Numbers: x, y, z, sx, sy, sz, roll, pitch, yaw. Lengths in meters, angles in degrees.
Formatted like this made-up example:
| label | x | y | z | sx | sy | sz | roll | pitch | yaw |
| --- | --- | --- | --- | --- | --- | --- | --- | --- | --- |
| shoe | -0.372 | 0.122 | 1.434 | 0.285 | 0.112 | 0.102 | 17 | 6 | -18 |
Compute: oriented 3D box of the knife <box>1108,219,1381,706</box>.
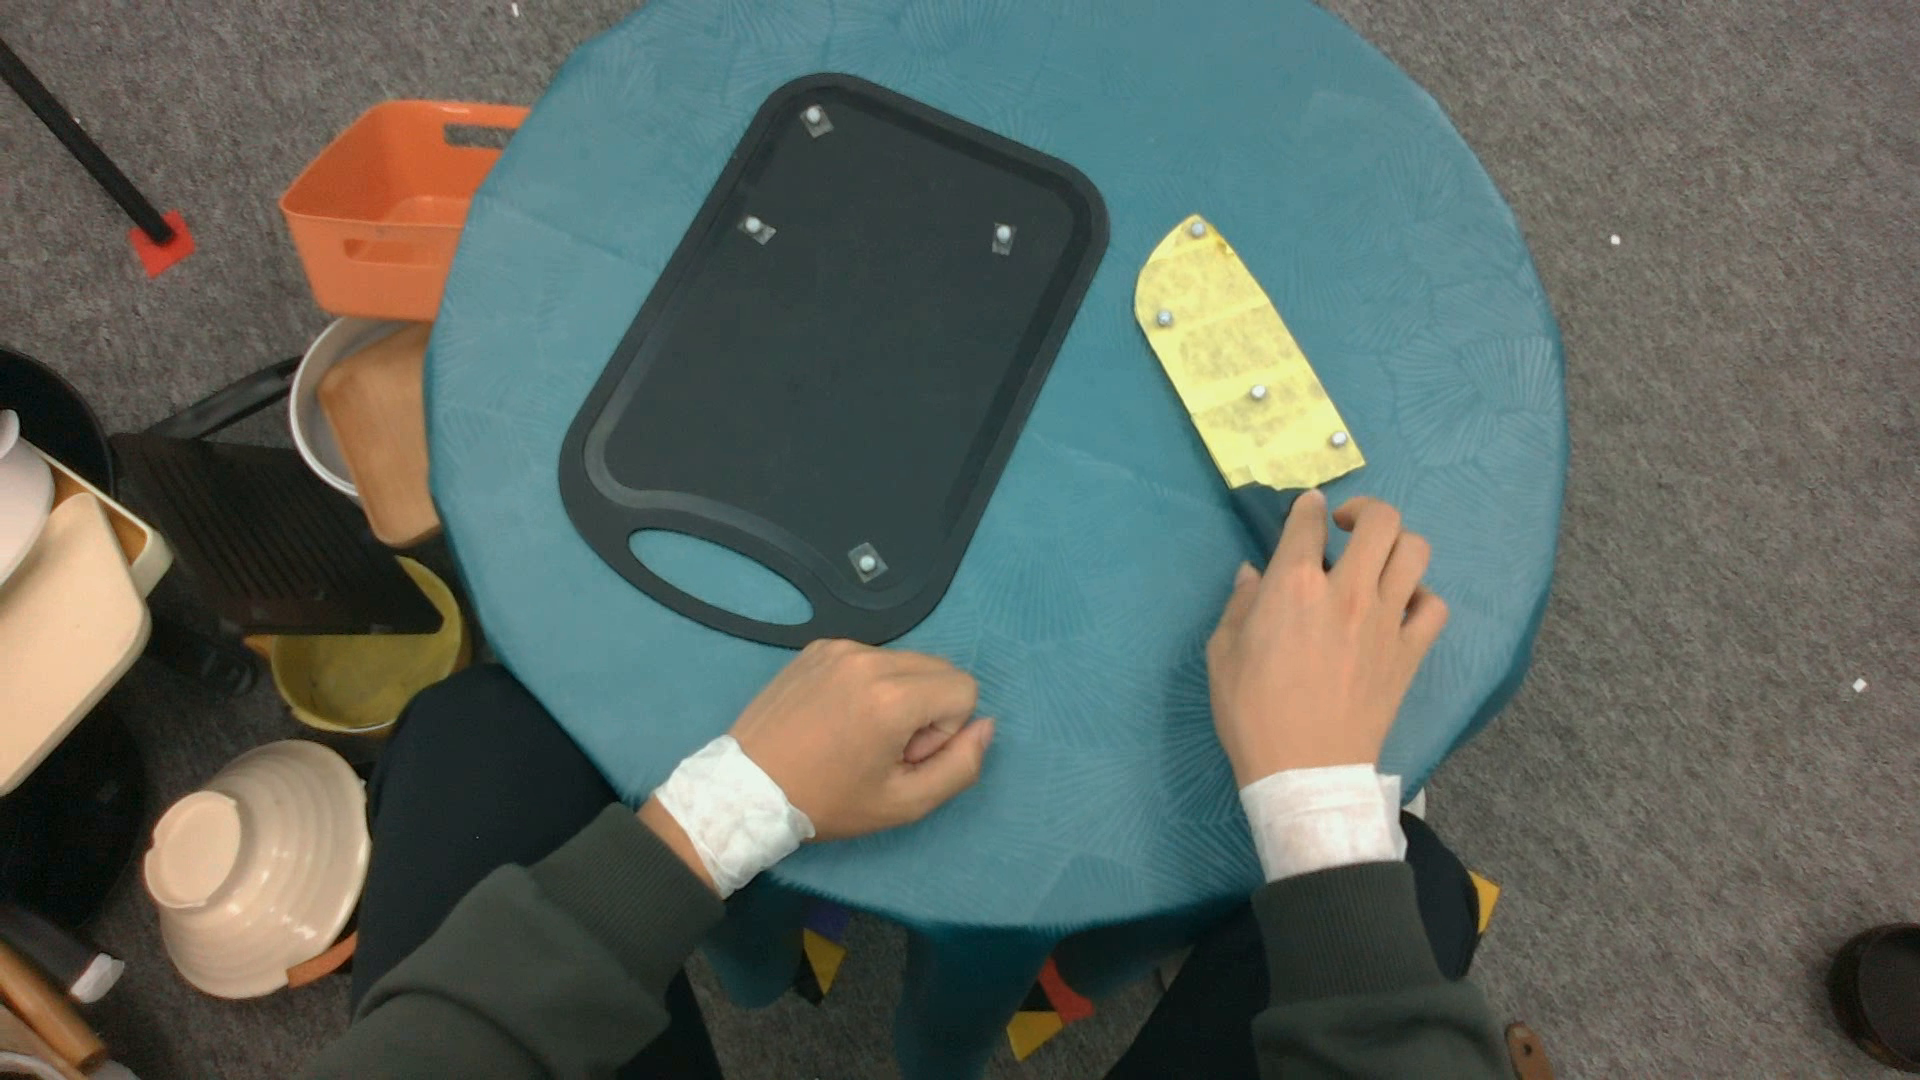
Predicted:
| label | x | y | z | sx | sy | sz | roll | pitch | yaw |
| --- | --- | --- | --- | --- | --- | --- | --- | --- | --- |
| knife | 0.154 | -0.051 | 0.717 | 0.081 | 0.027 | 0.290 | -19 | 71 | -9 |

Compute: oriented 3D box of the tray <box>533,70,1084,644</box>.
| label | x | y | z | sx | sy | sz | roll | pitch | yaw |
| --- | --- | --- | --- | --- | --- | --- | --- | --- | --- |
| tray | -0.076 | -0.103 | 0.722 | 0.211 | 0.010 | 0.326 | 23 | 69 | 4 |
